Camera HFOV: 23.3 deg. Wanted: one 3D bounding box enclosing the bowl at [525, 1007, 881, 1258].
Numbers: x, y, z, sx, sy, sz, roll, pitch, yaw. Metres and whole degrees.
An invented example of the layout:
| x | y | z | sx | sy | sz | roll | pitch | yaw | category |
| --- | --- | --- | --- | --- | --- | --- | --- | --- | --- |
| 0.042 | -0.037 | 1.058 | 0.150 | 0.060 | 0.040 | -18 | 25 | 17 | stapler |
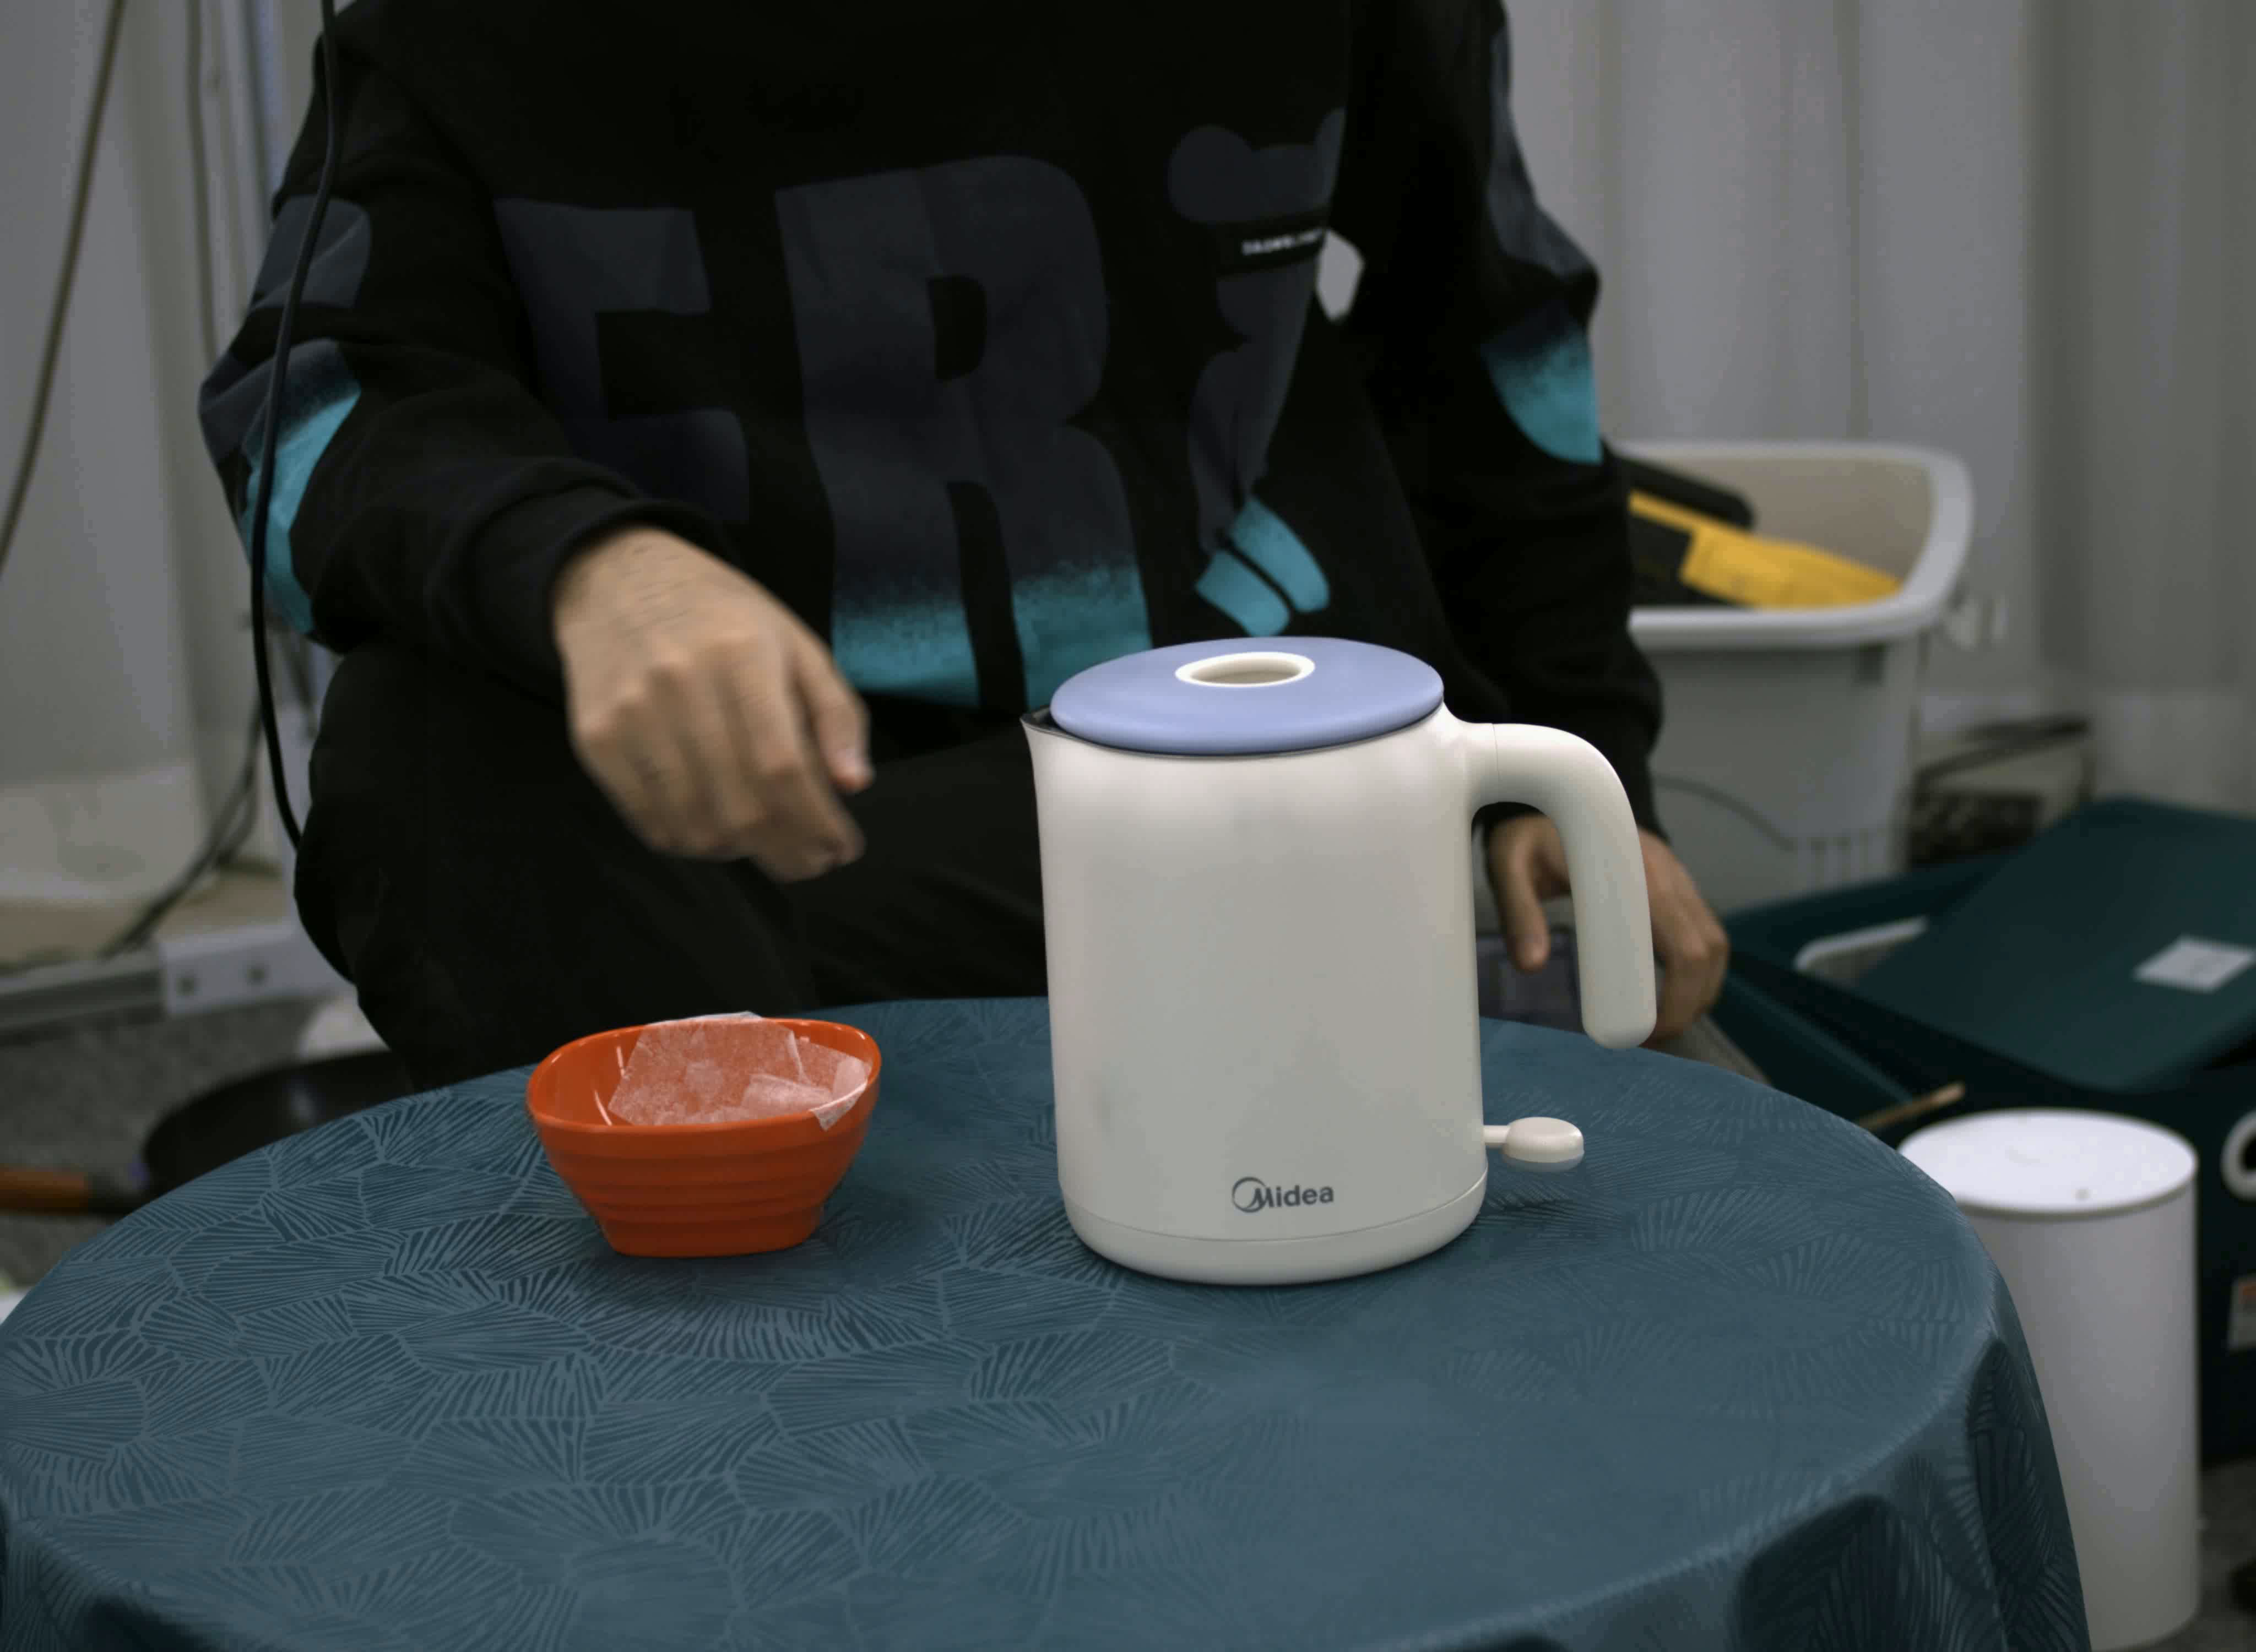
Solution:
| x | y | z | sx | sy | sz | roll | pitch | yaw | category |
| --- | --- | --- | --- | --- | --- | --- | --- | --- | --- |
| -0.129 | 0.098 | 1.699 | 0.118 | 0.051 | 0.120 | -5 | 17 | 1 | bowl |

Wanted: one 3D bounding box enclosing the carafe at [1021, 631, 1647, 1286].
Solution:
| x | y | z | sx | sy | sz | roll | pitch | yaw | category |
| --- | --- | --- | --- | --- | --- | --- | --- | --- | --- |
| 0.064 | 0.038 | 1.660 | 0.190 | 0.182 | 0.133 | -1 | 15 | -3 | carafe |
